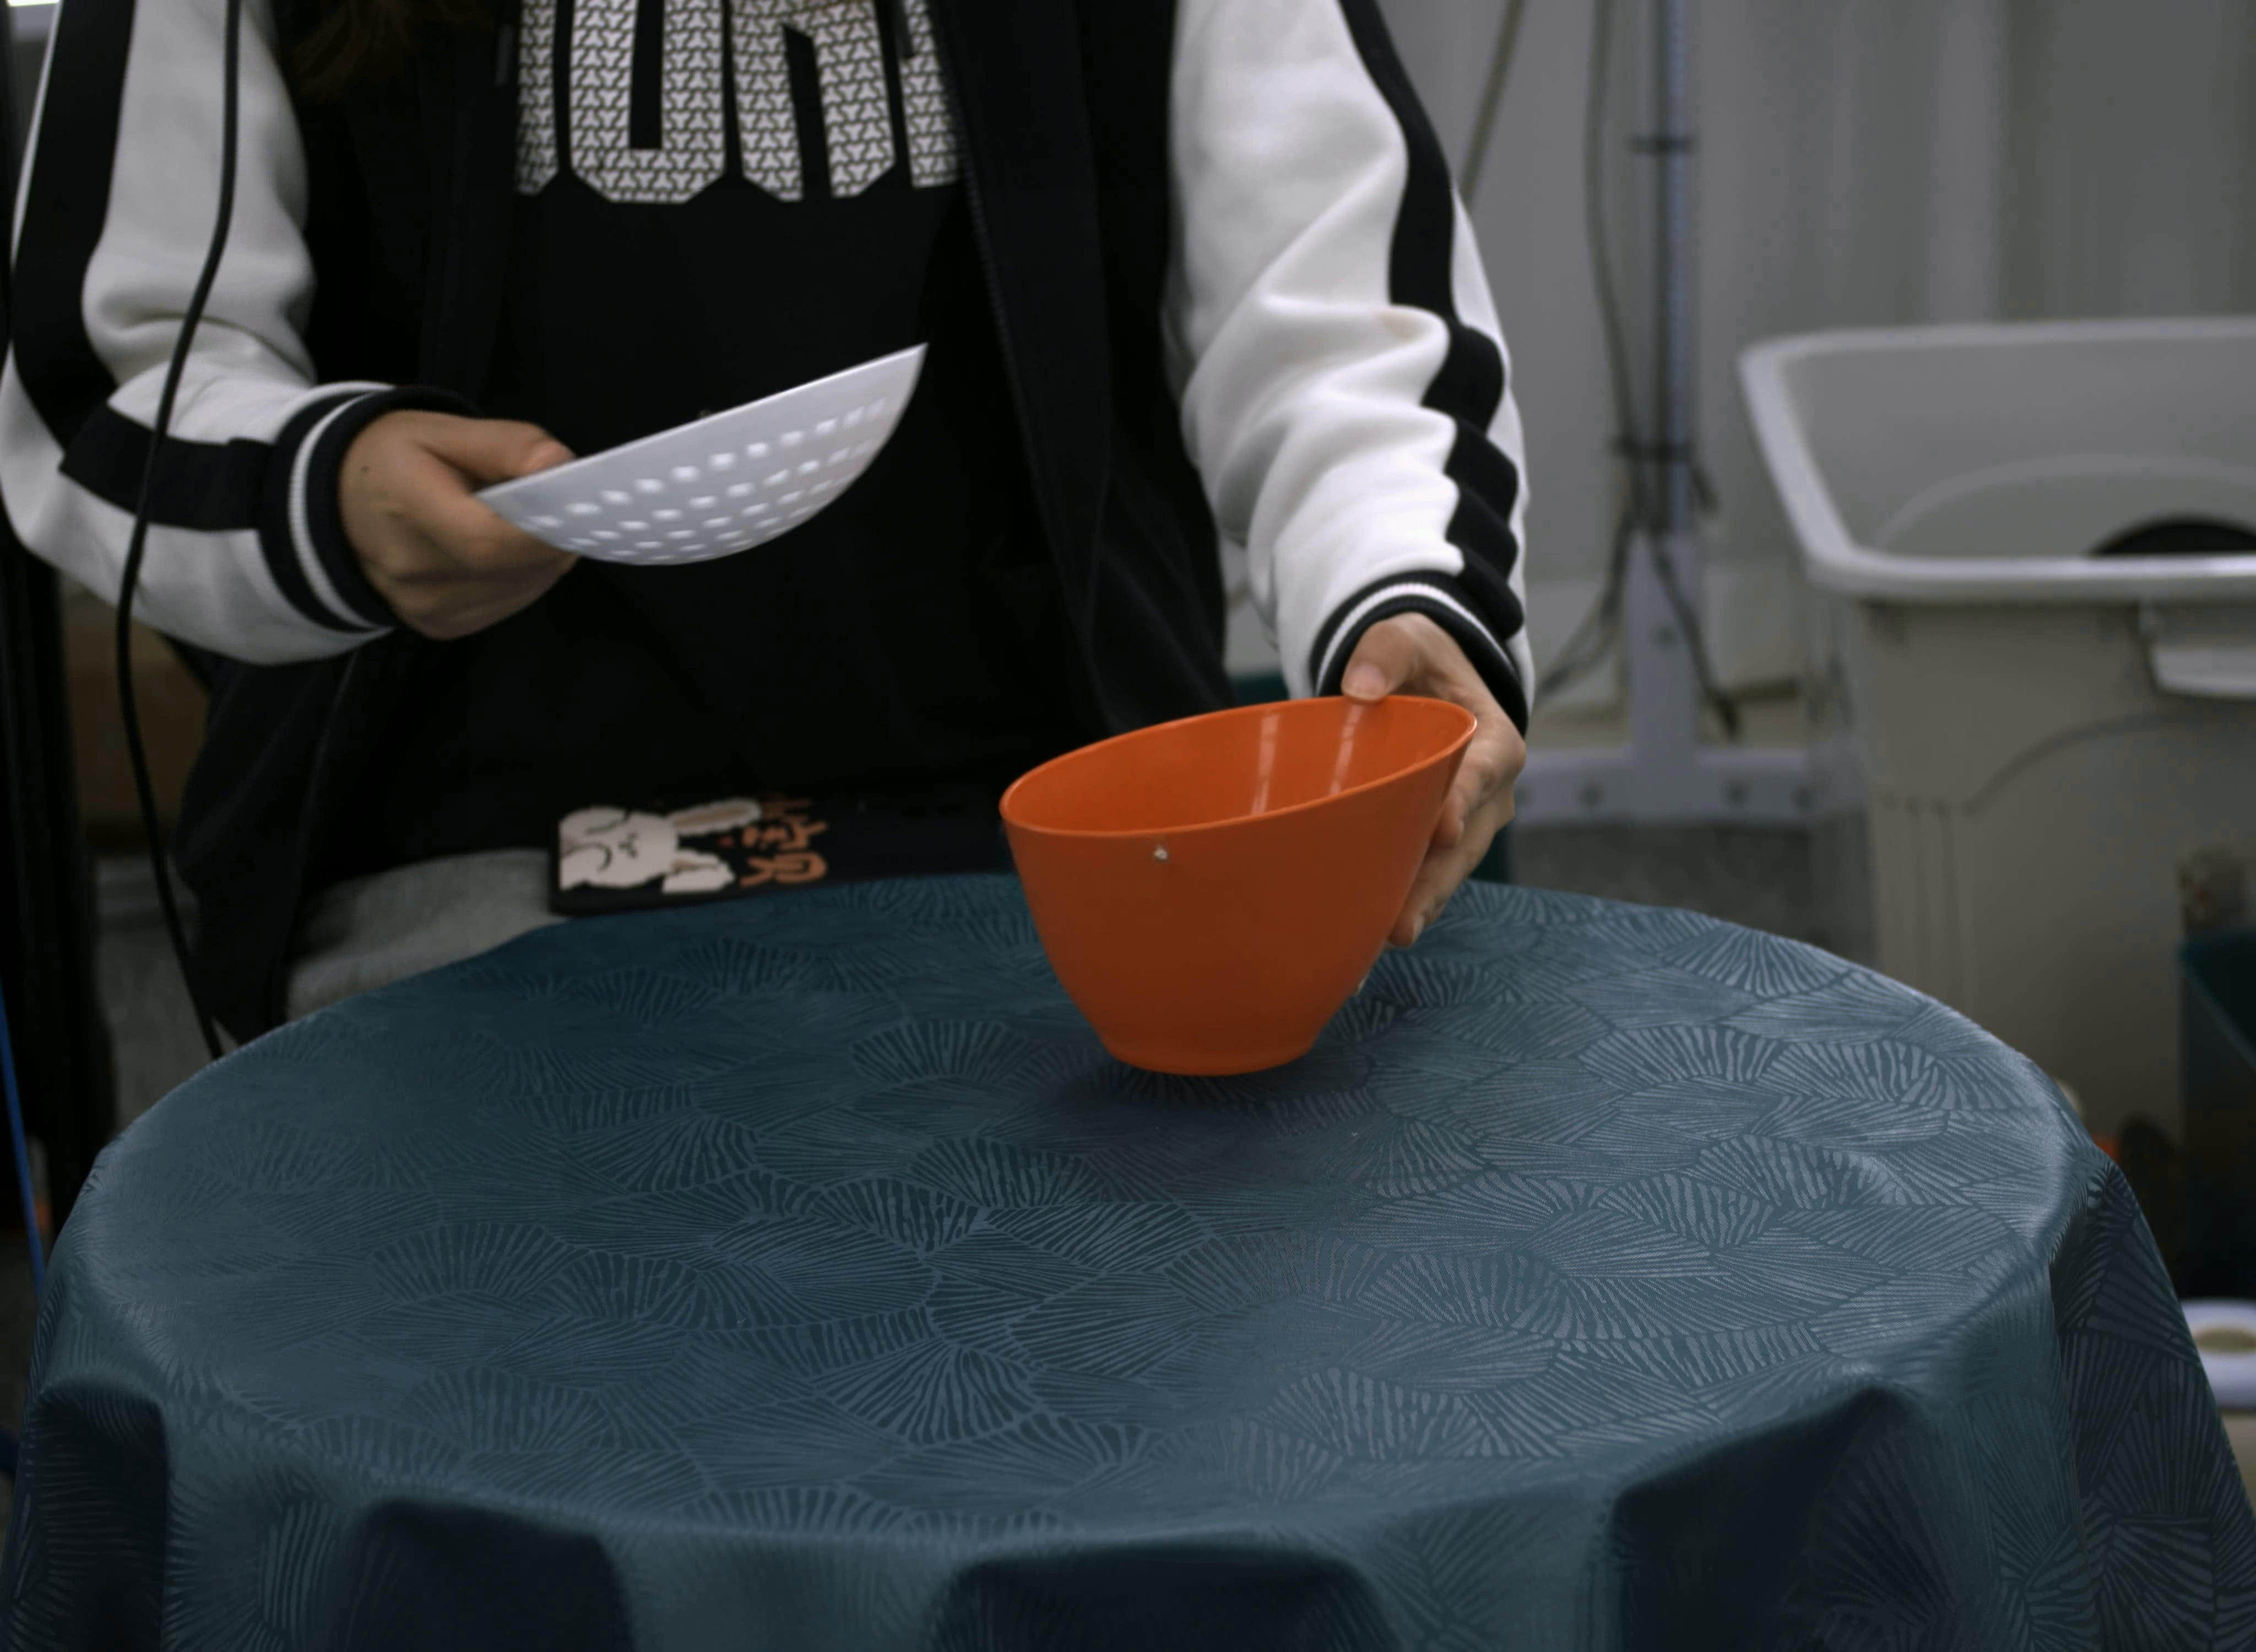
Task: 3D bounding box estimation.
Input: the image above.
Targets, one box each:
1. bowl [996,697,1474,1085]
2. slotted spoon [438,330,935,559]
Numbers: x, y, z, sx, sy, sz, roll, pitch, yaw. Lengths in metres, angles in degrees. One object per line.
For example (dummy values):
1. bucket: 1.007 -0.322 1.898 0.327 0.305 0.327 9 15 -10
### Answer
1. bowl: 0.034 0.021 1.635 0.147 0.104 0.149 -3 18 0
2. slotted spoon: -0.158 -0.110 1.654 0.134 0.045 0.355 -23 12 -20
